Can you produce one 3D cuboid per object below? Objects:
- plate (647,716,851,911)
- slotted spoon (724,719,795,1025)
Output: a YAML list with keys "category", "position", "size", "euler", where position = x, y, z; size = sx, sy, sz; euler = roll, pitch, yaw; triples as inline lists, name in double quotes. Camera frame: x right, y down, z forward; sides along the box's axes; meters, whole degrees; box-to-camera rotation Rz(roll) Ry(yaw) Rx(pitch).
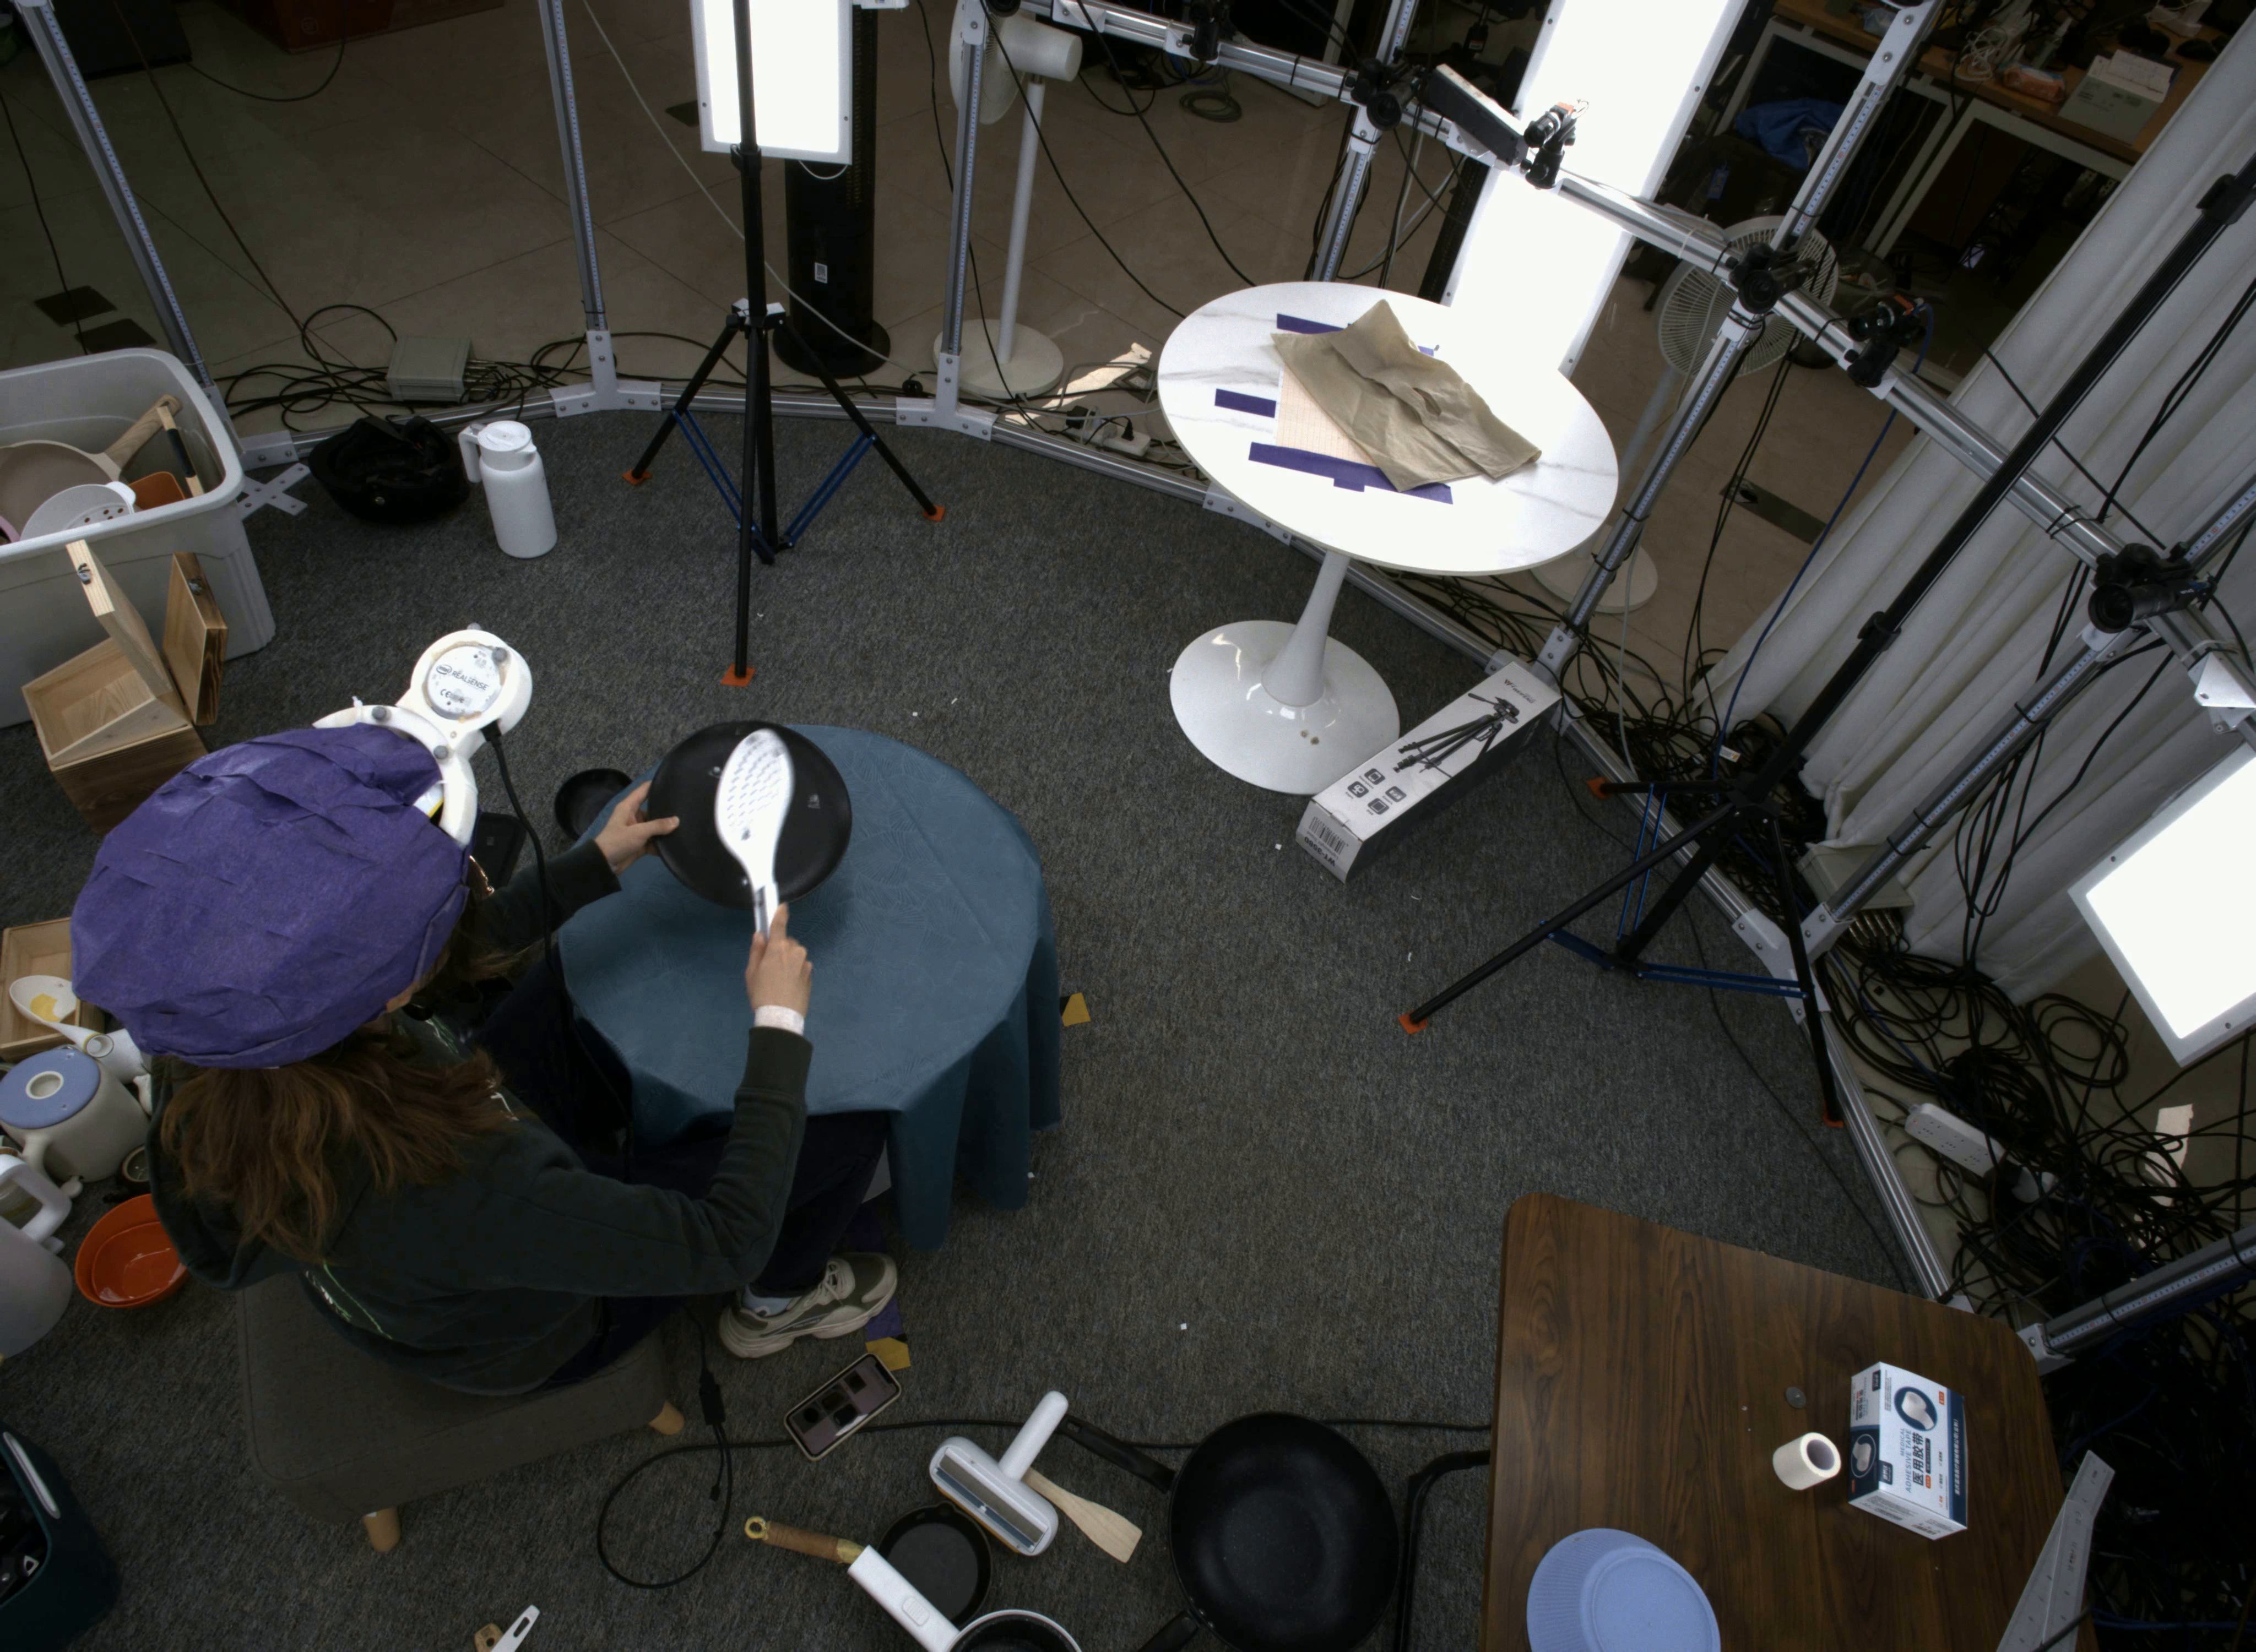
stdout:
- category: "plate"
  position: [-0.459, -0.016, 1.571]
  size: [0.247, 0.023, 0.243]
  euler: [9, 71, -24]
- category: "slotted spoon"
  position: [-0.392, 0.045, 1.399]
  size: [0.047, 0.134, 0.344]
  euler: [19, 52, -41]
